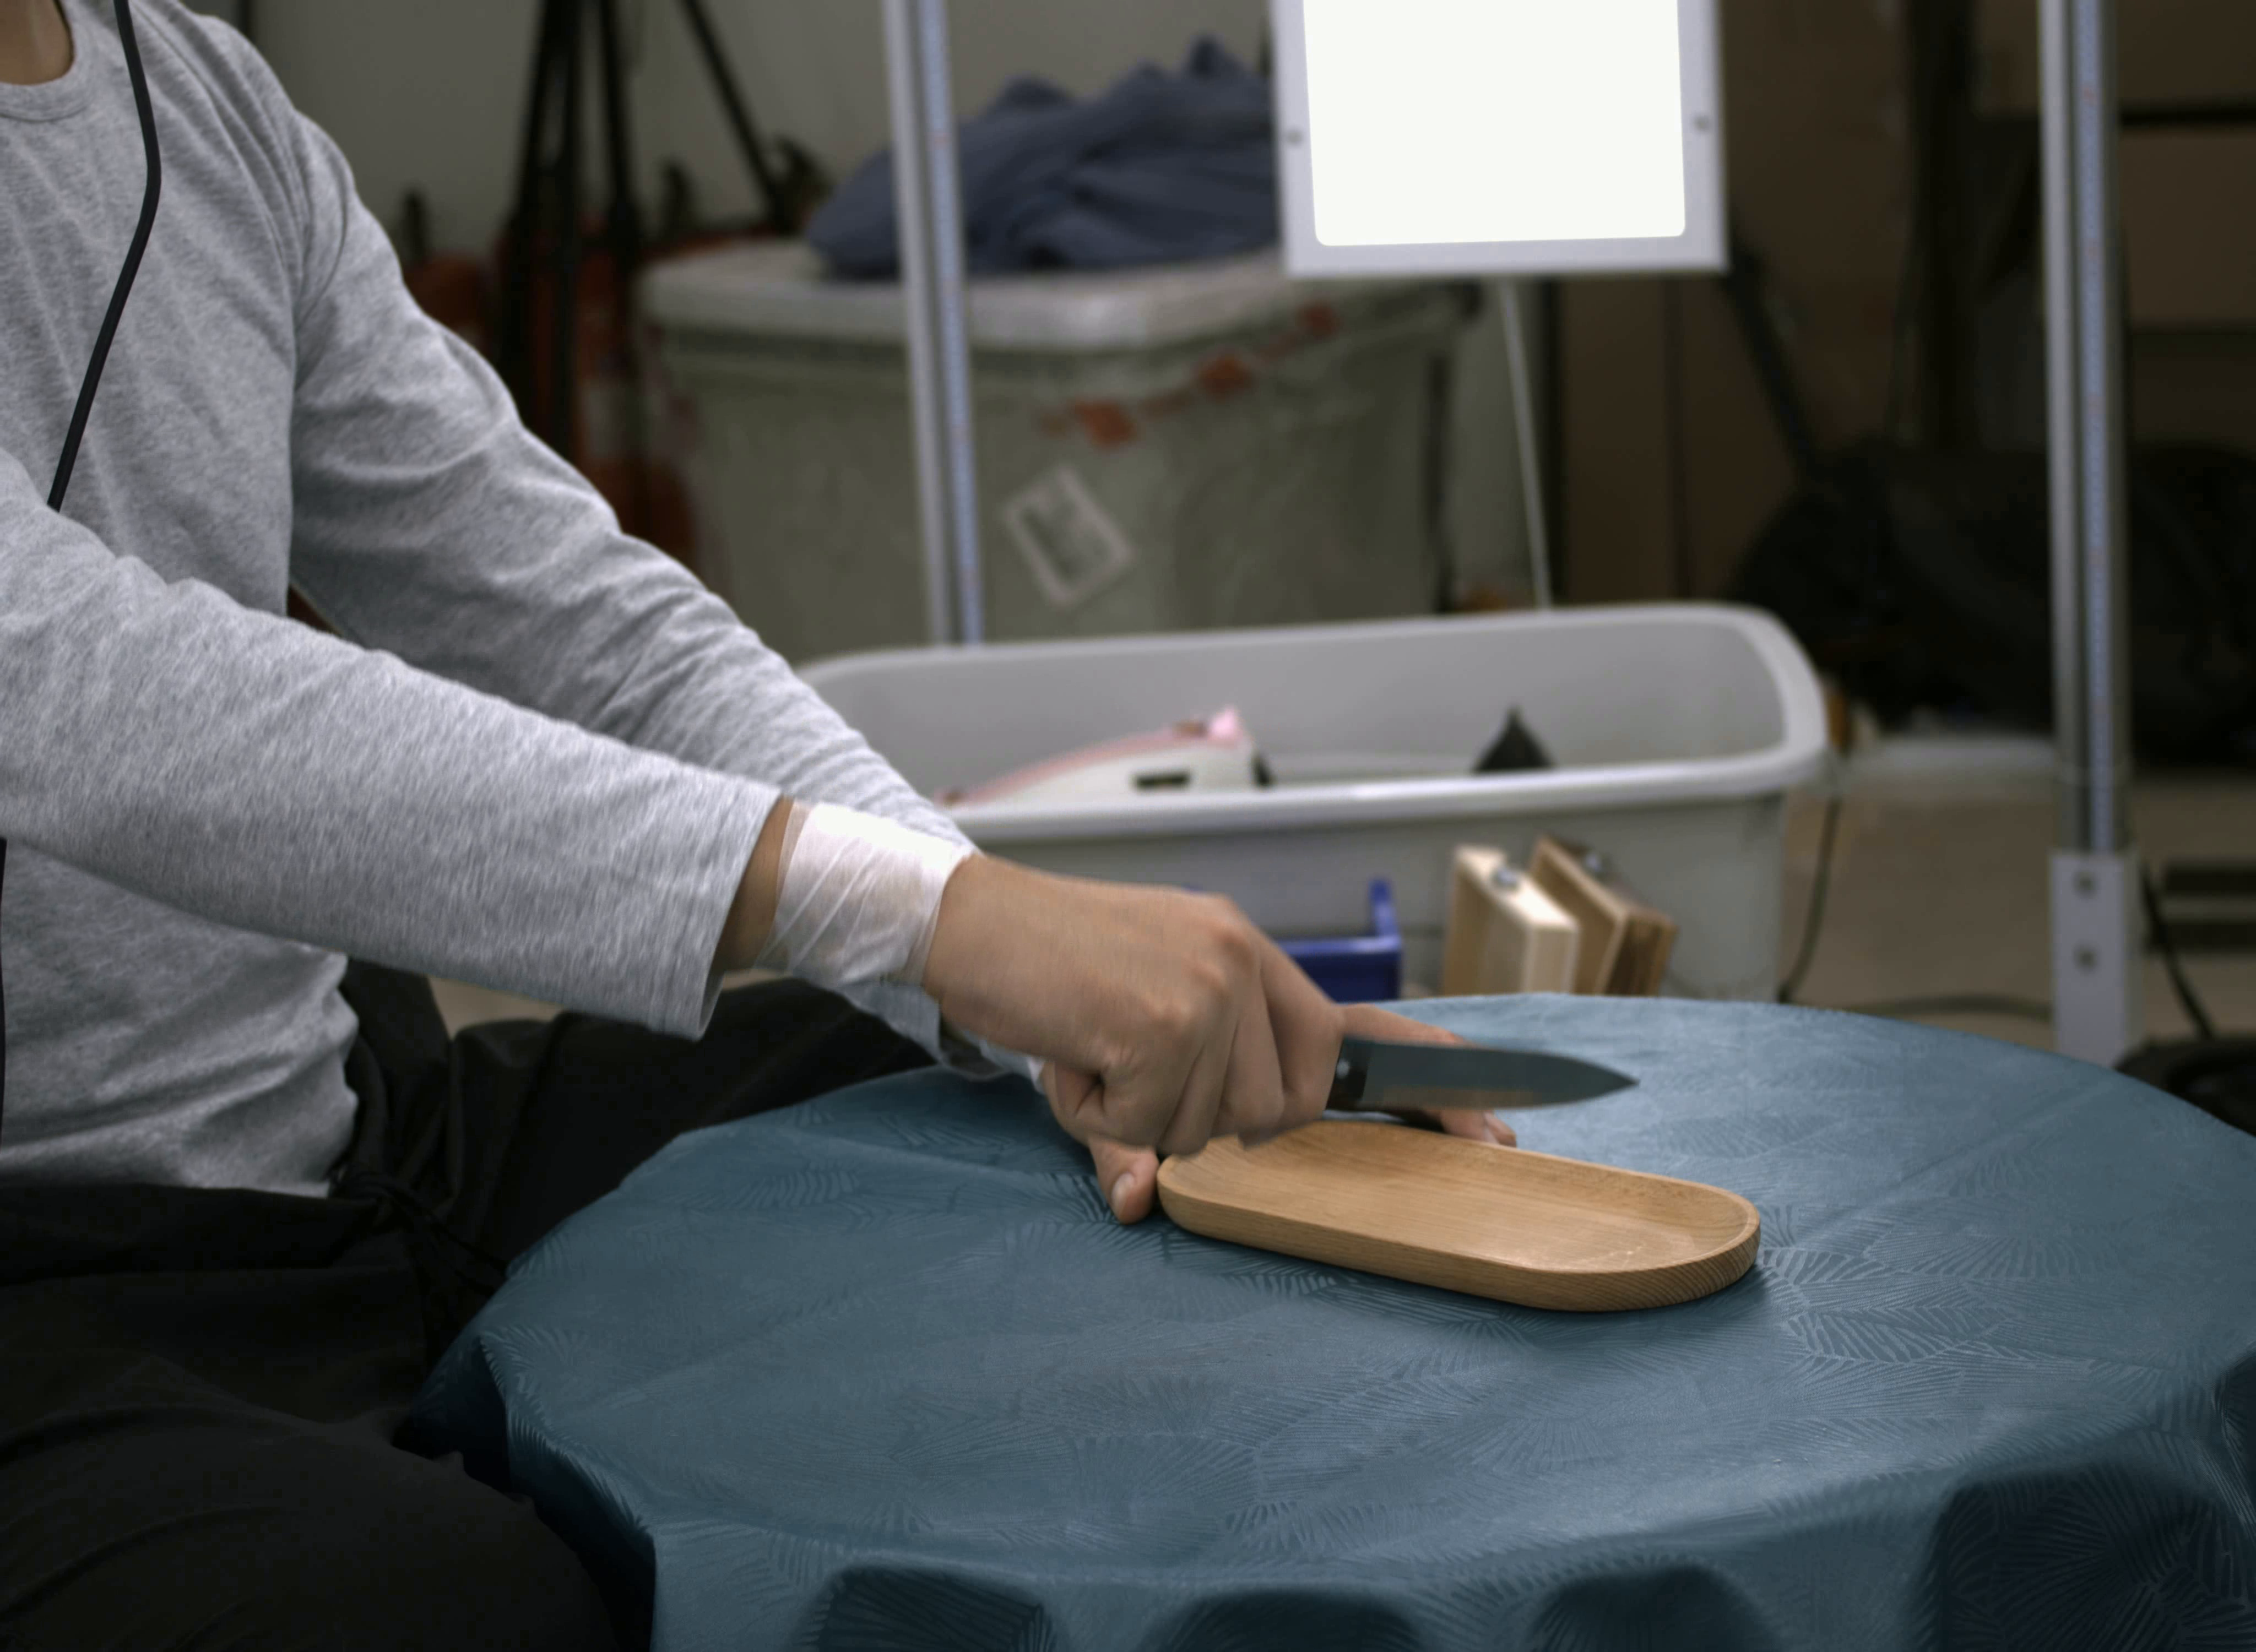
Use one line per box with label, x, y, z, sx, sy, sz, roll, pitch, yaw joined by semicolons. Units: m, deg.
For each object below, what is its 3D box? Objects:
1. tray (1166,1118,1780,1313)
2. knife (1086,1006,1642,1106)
tray;0.112;0.128;1.822;0.236;0.020;0.099;9;22;42
knife;0.081;0.073;1.743;0.232;0.024;0.016;7;3;-39
